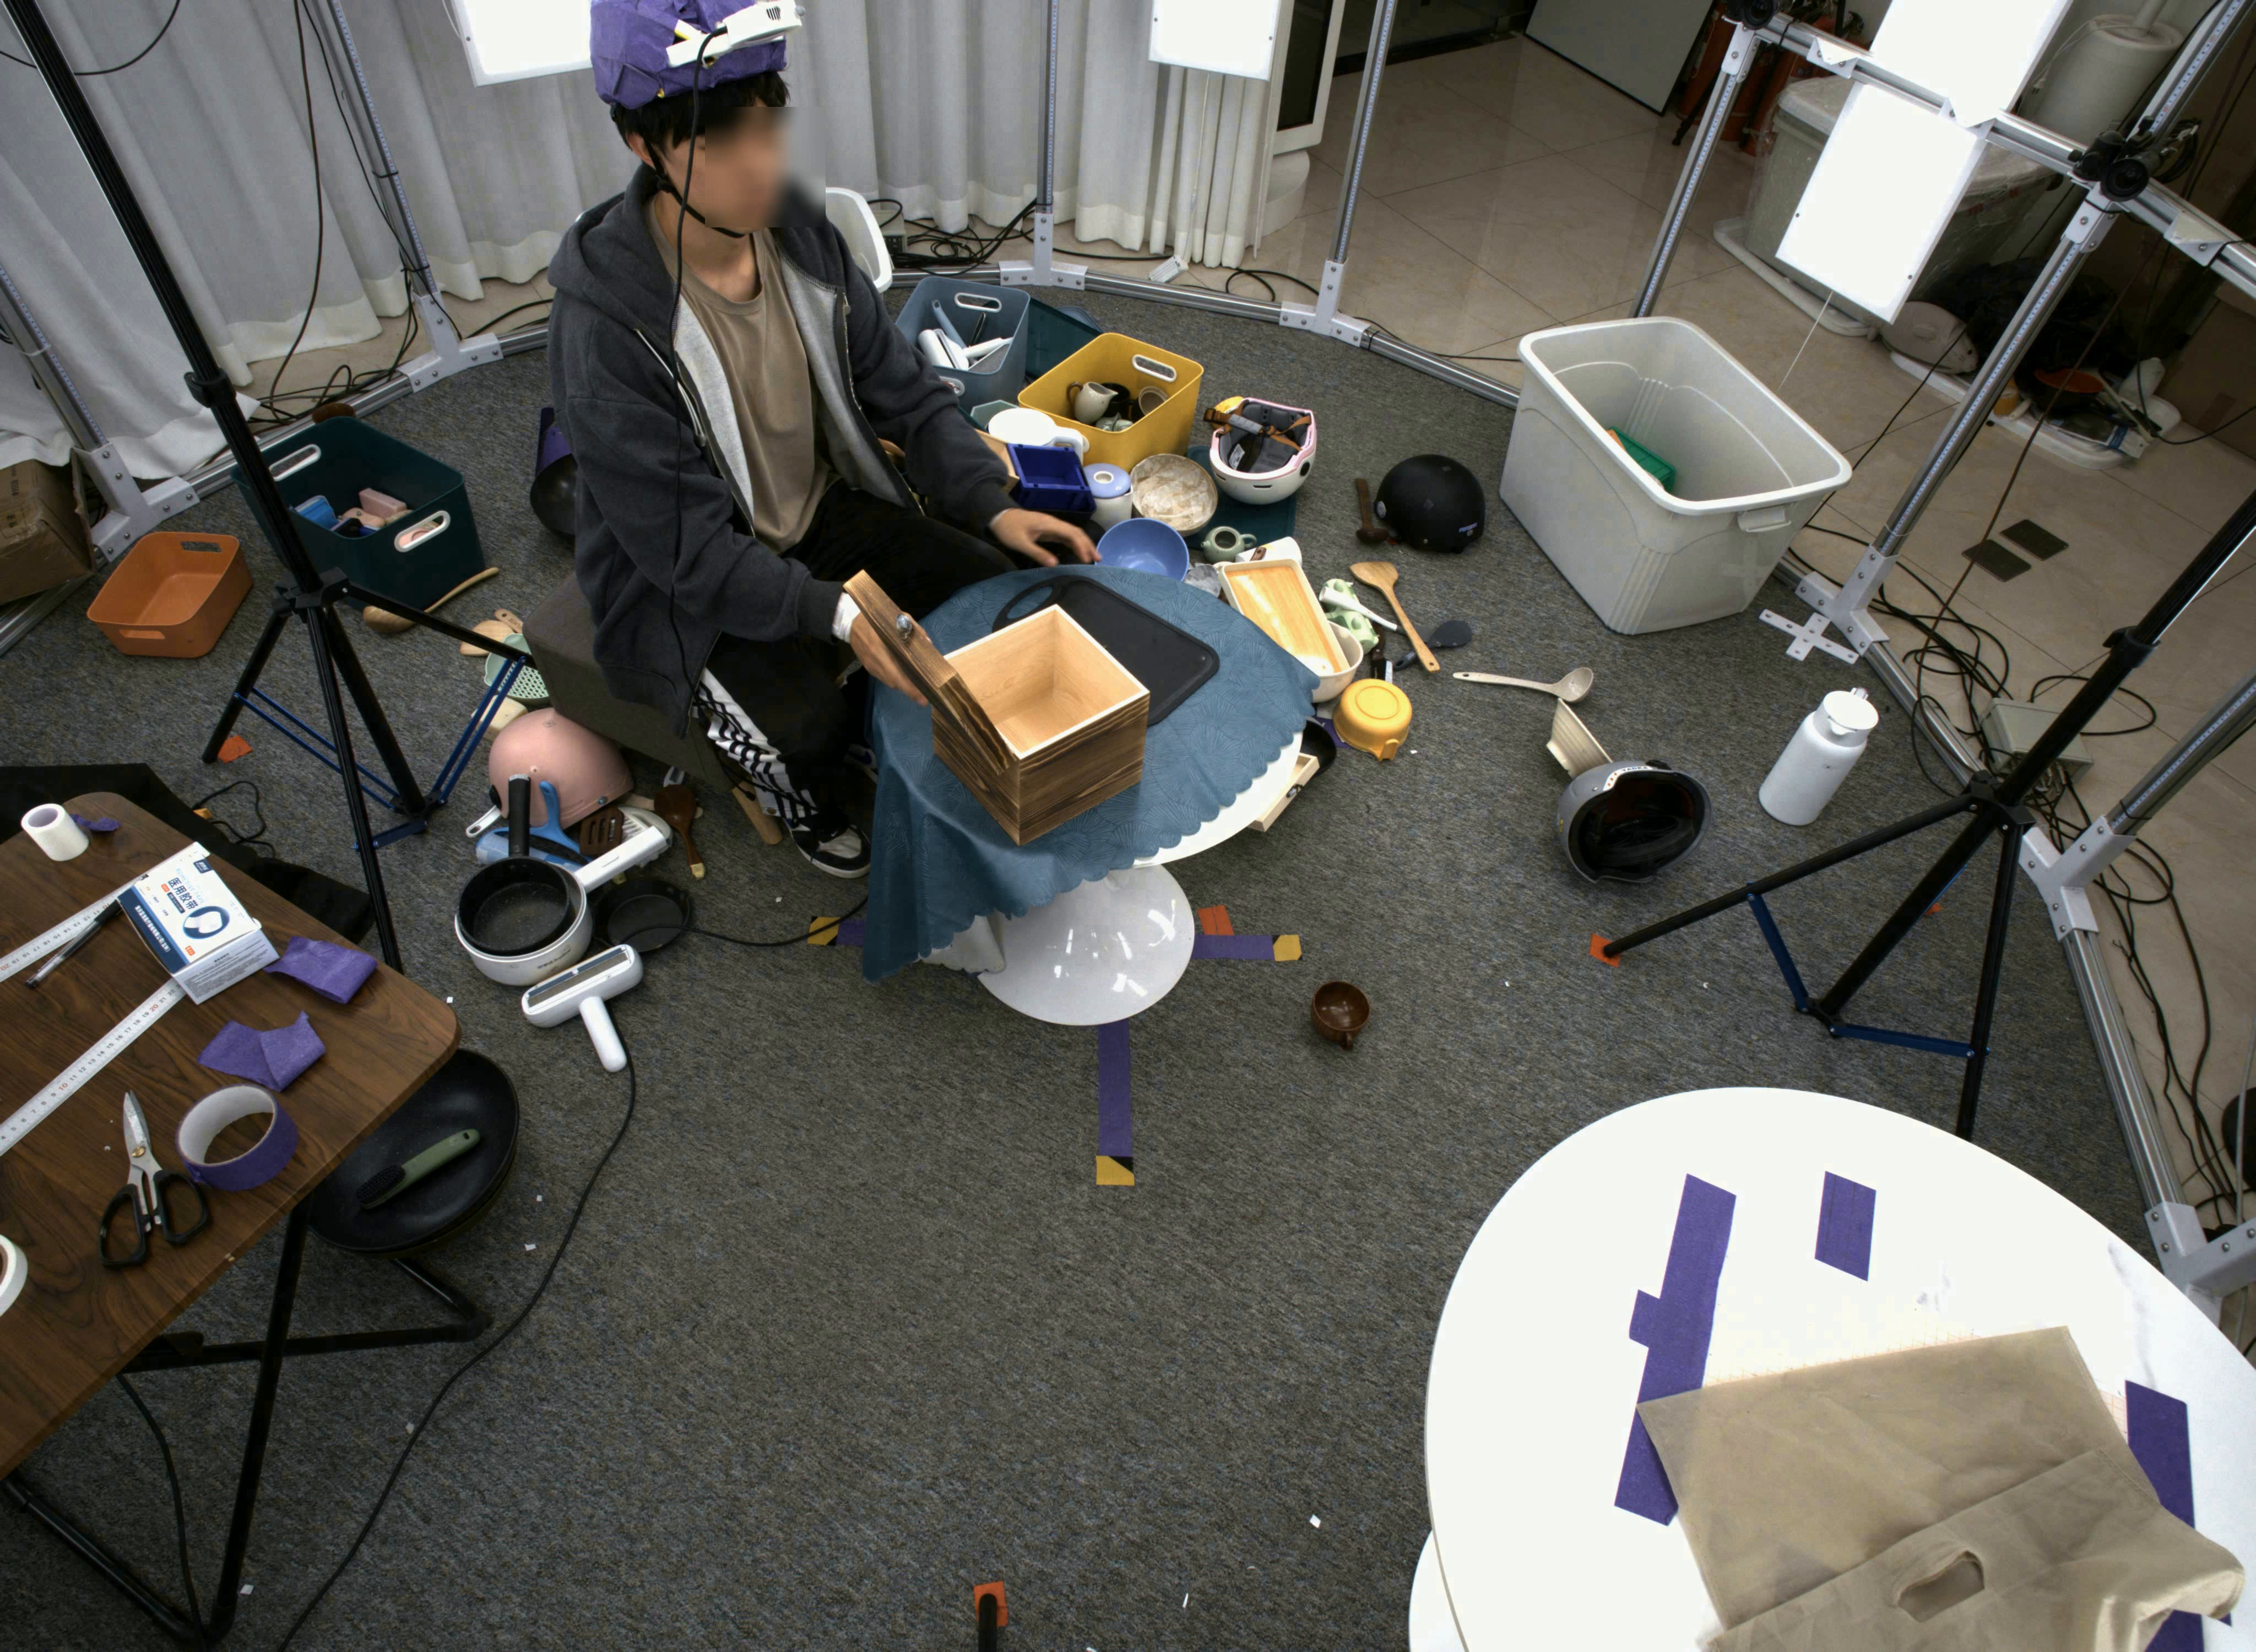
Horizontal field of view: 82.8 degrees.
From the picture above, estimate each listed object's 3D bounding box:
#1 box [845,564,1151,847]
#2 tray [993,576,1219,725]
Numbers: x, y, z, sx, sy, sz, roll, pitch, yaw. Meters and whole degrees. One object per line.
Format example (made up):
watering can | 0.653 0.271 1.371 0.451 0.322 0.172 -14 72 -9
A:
box | -0.150 -0.169 1.570 0.324 0.366 0.212 -29 58 -26
tray | -0.039 -0.268 1.892 0.329 0.009 0.213 33 54 23
